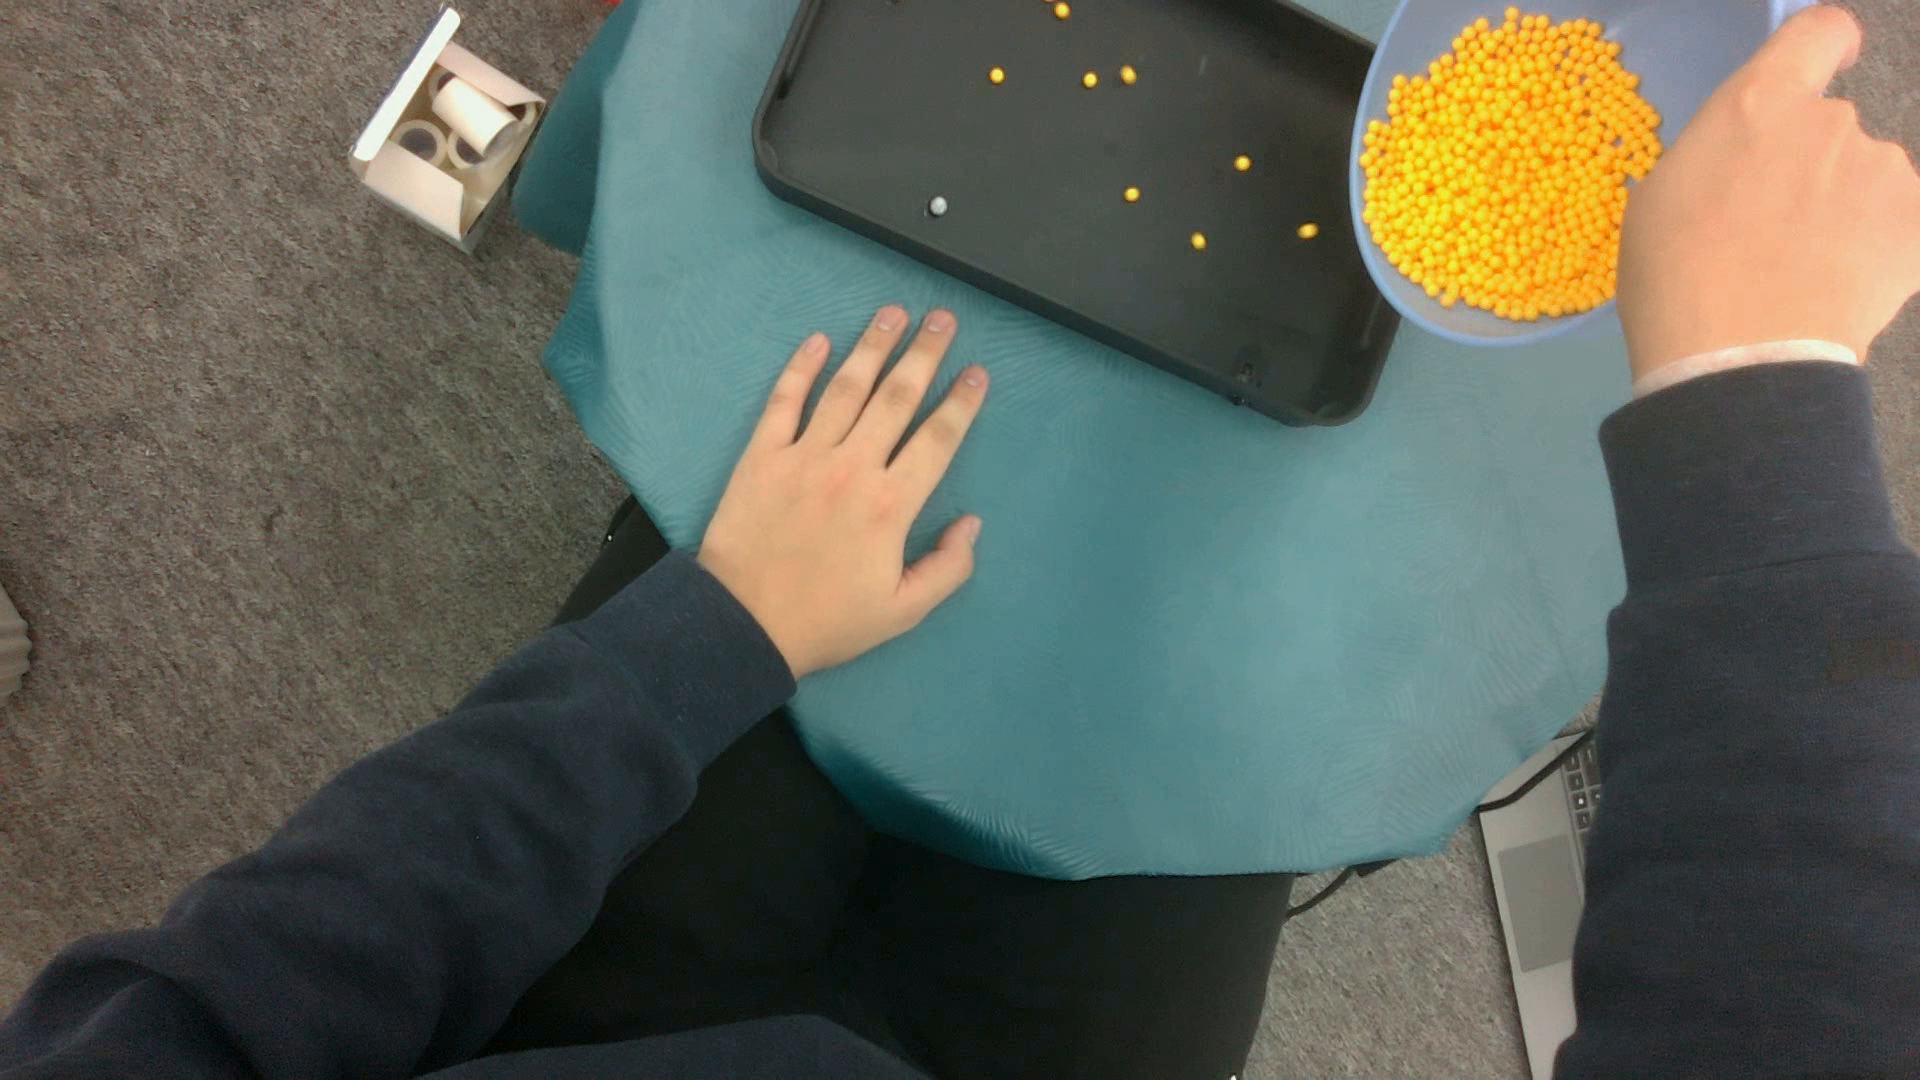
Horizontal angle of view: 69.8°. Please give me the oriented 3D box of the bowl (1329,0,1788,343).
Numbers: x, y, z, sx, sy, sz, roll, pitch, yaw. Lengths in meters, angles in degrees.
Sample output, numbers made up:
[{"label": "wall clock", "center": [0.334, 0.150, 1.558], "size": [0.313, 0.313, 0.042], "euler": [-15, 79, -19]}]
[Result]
[{"label": "bowl", "center": [0.261, -0.173, 0.580], "size": [0.095, 0.196, 0.196], "euler": [6, 86, -29]}]

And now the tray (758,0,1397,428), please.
[{"label": "tray", "center": [0.076, -0.189, 0.669], "size": [0.318, 0.037, 0.184], "euler": [21, 84, -10]}]
